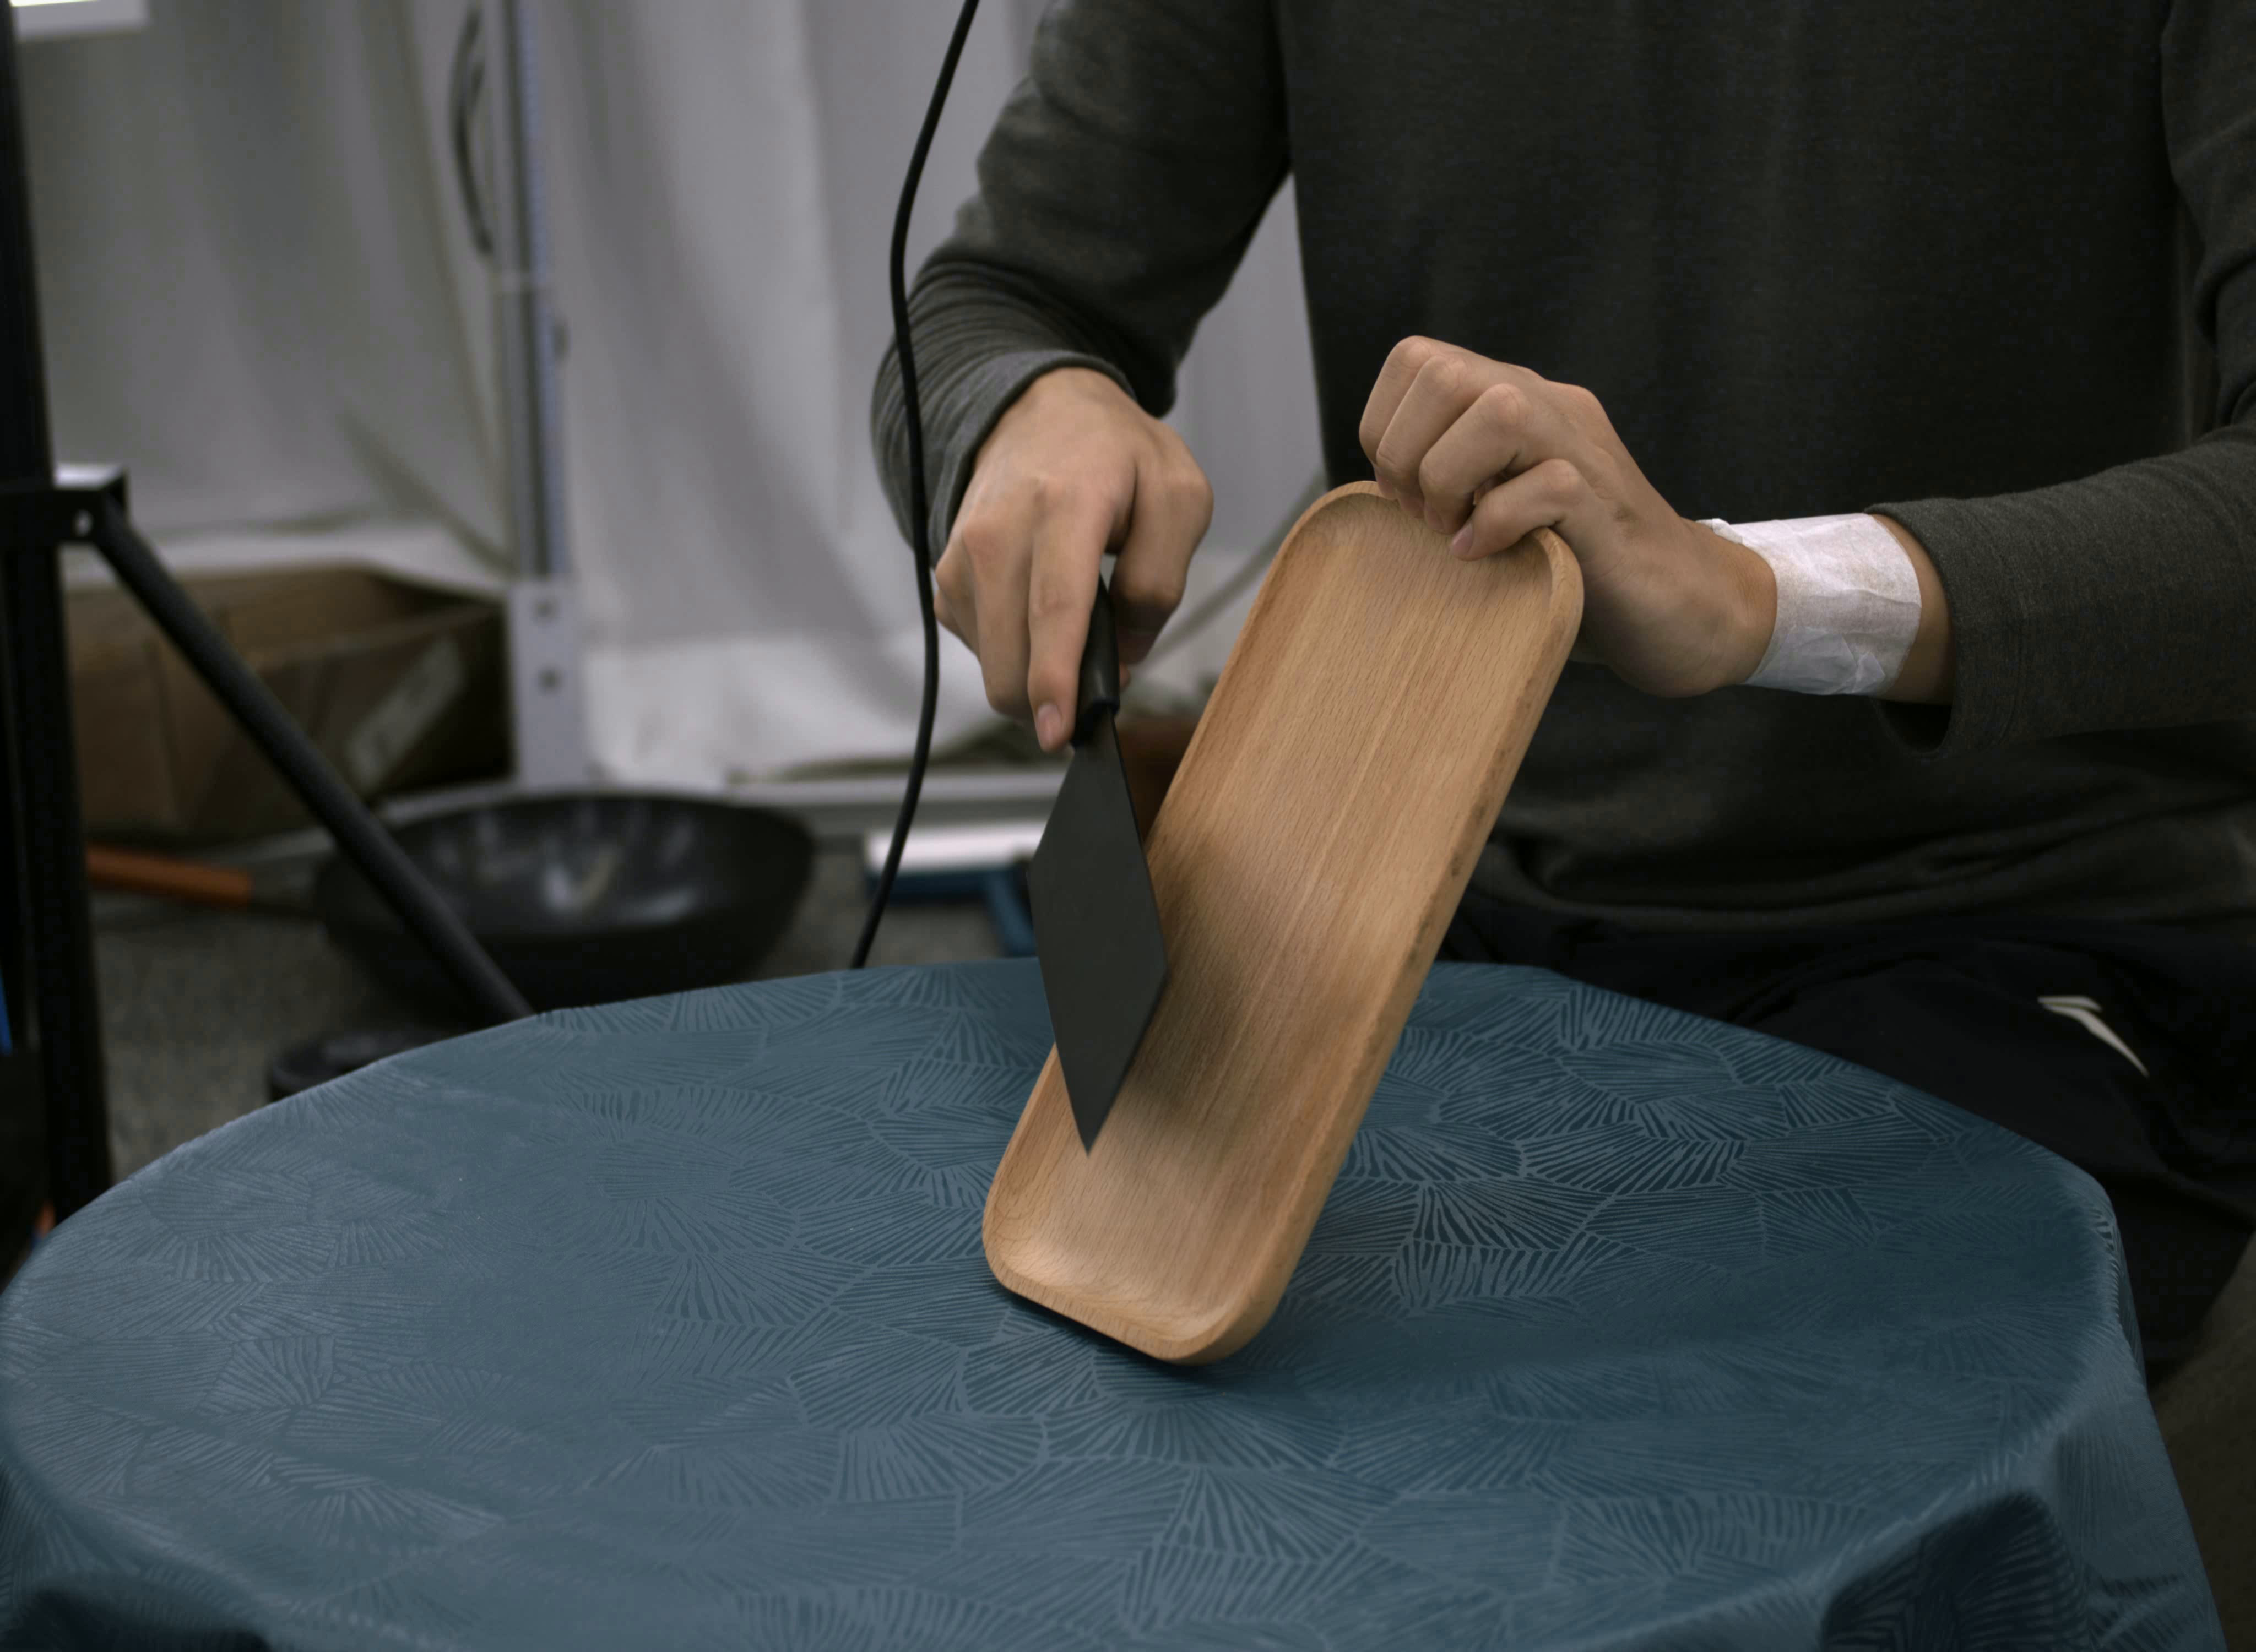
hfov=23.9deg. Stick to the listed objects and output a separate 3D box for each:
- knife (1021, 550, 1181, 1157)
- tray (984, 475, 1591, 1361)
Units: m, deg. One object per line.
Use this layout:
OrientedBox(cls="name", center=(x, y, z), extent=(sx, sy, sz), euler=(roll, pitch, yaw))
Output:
OrientedBox(cls="knife", center=(-0.013, -0.002, 1.554), extent=(0.020, 0.081, 0.305), euler=(20, 26, -15))
OrientedBox(cls="tray", center=(0.044, 0.024, 1.463), extent=(0.022, 0.251, 0.133), euler=(29, -6, -36))
